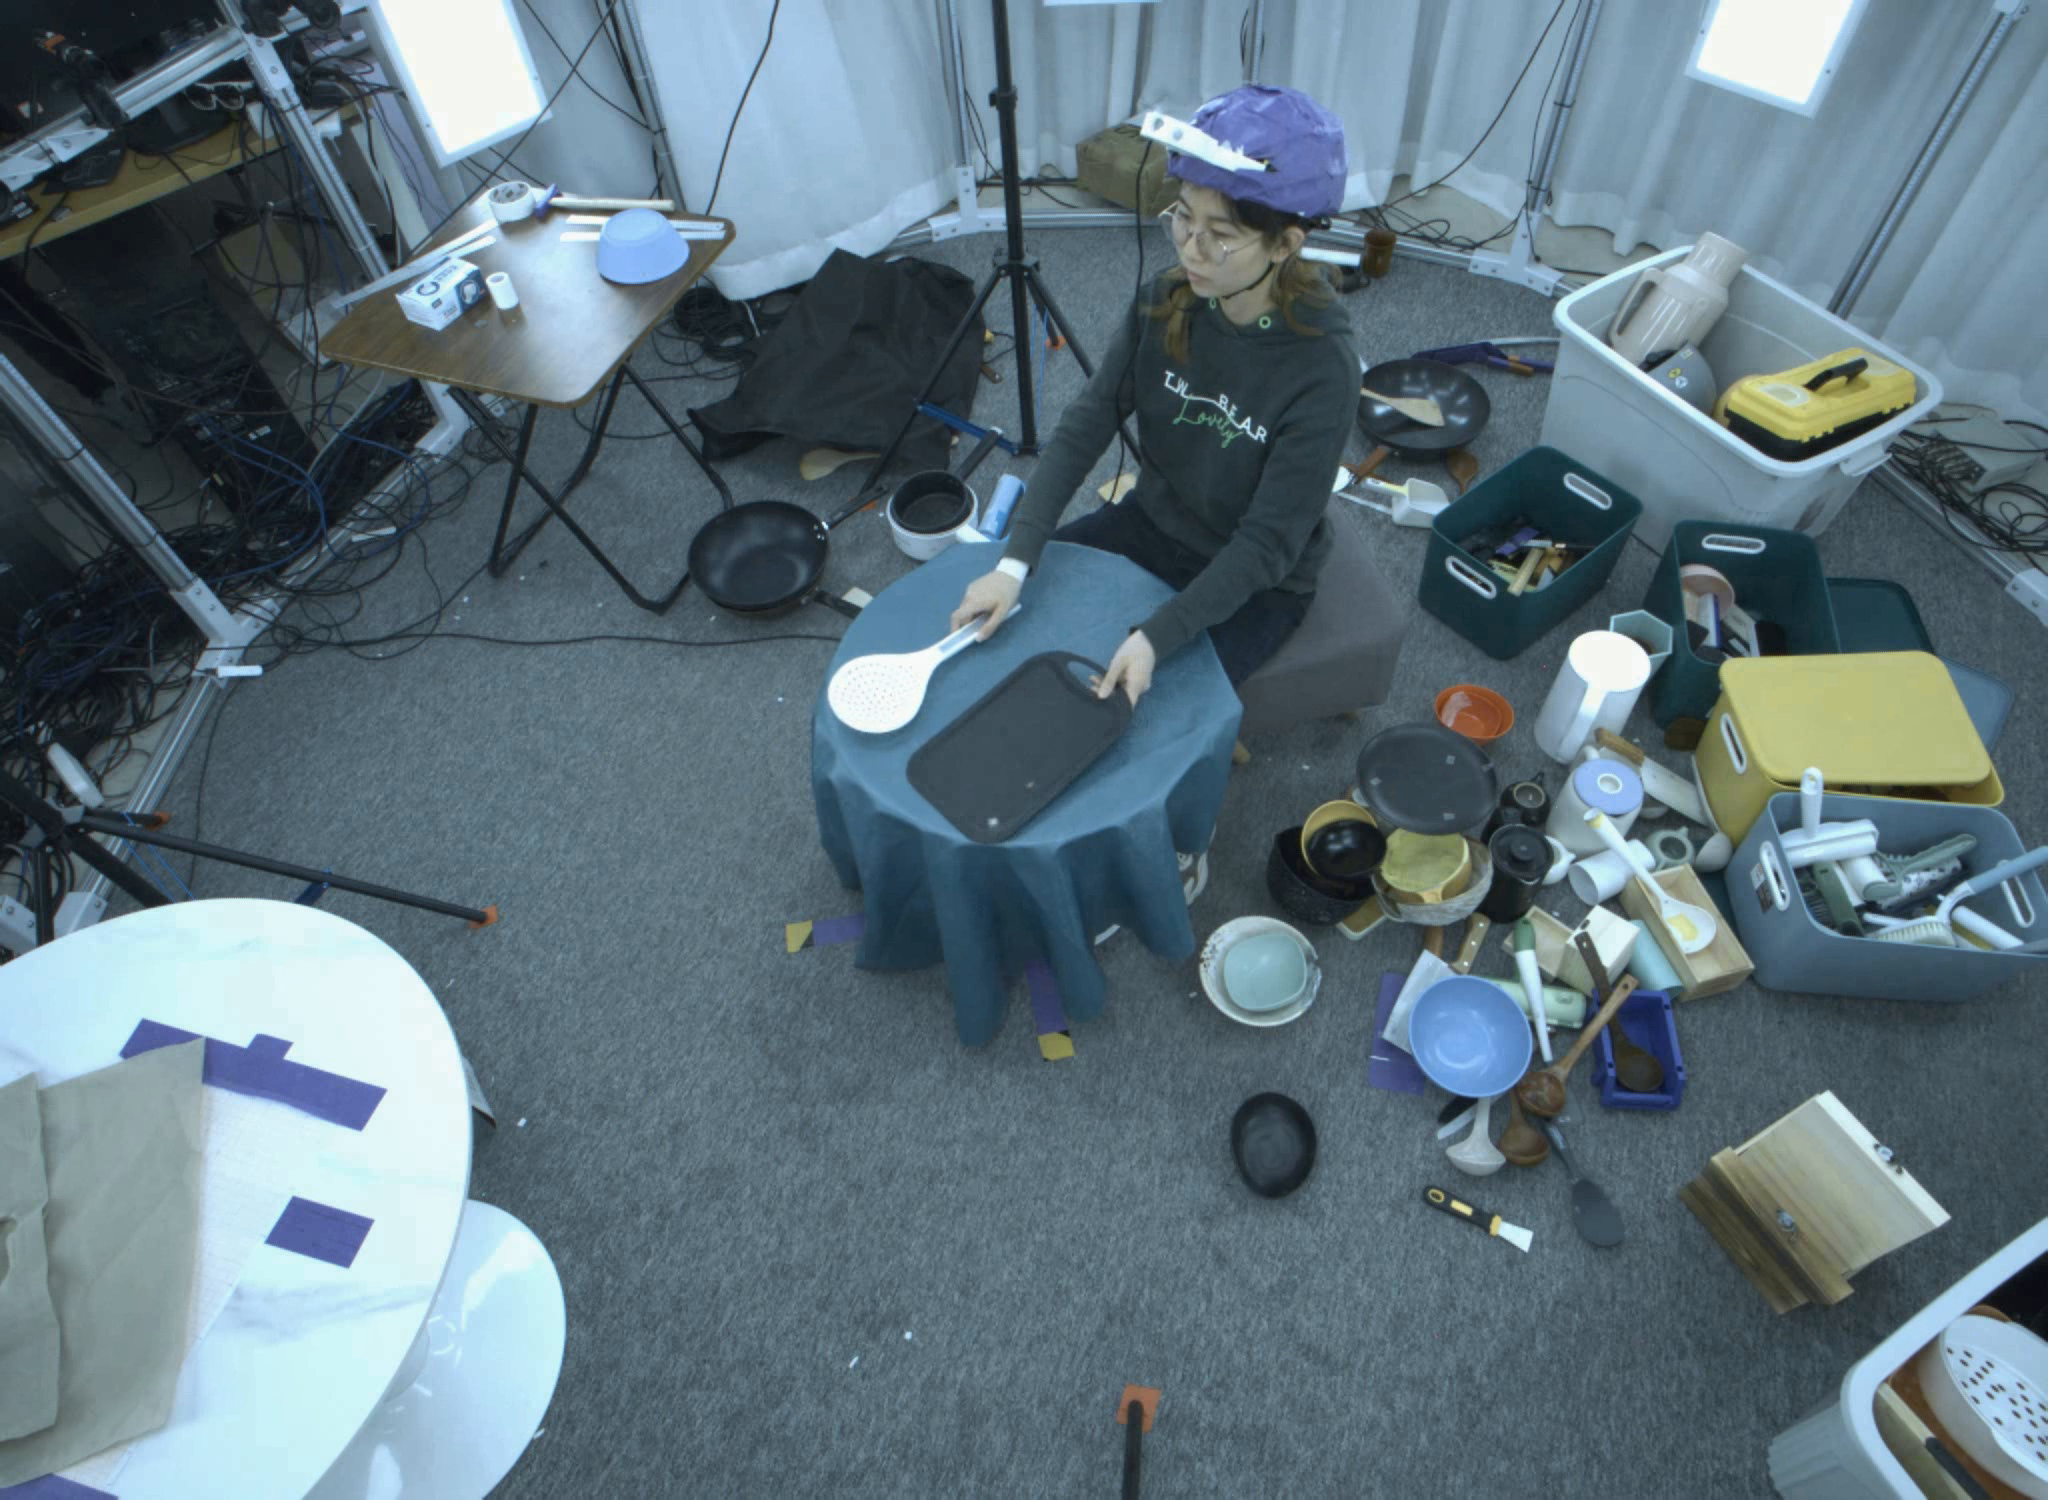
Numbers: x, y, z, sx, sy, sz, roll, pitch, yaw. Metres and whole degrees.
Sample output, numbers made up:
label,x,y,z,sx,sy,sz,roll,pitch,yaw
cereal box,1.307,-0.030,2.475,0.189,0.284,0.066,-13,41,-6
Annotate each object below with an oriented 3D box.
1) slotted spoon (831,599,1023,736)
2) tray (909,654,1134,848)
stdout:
label,x,y,z,sx,sy,sz,roll,pitch,yaw
slotted spoon,-0.139,-0.135,1.863,0.352,0.046,0.134,-38,73,-21
tray,0.001,-0.012,1.778,0.327,0.010,0.207,-41,61,-16
